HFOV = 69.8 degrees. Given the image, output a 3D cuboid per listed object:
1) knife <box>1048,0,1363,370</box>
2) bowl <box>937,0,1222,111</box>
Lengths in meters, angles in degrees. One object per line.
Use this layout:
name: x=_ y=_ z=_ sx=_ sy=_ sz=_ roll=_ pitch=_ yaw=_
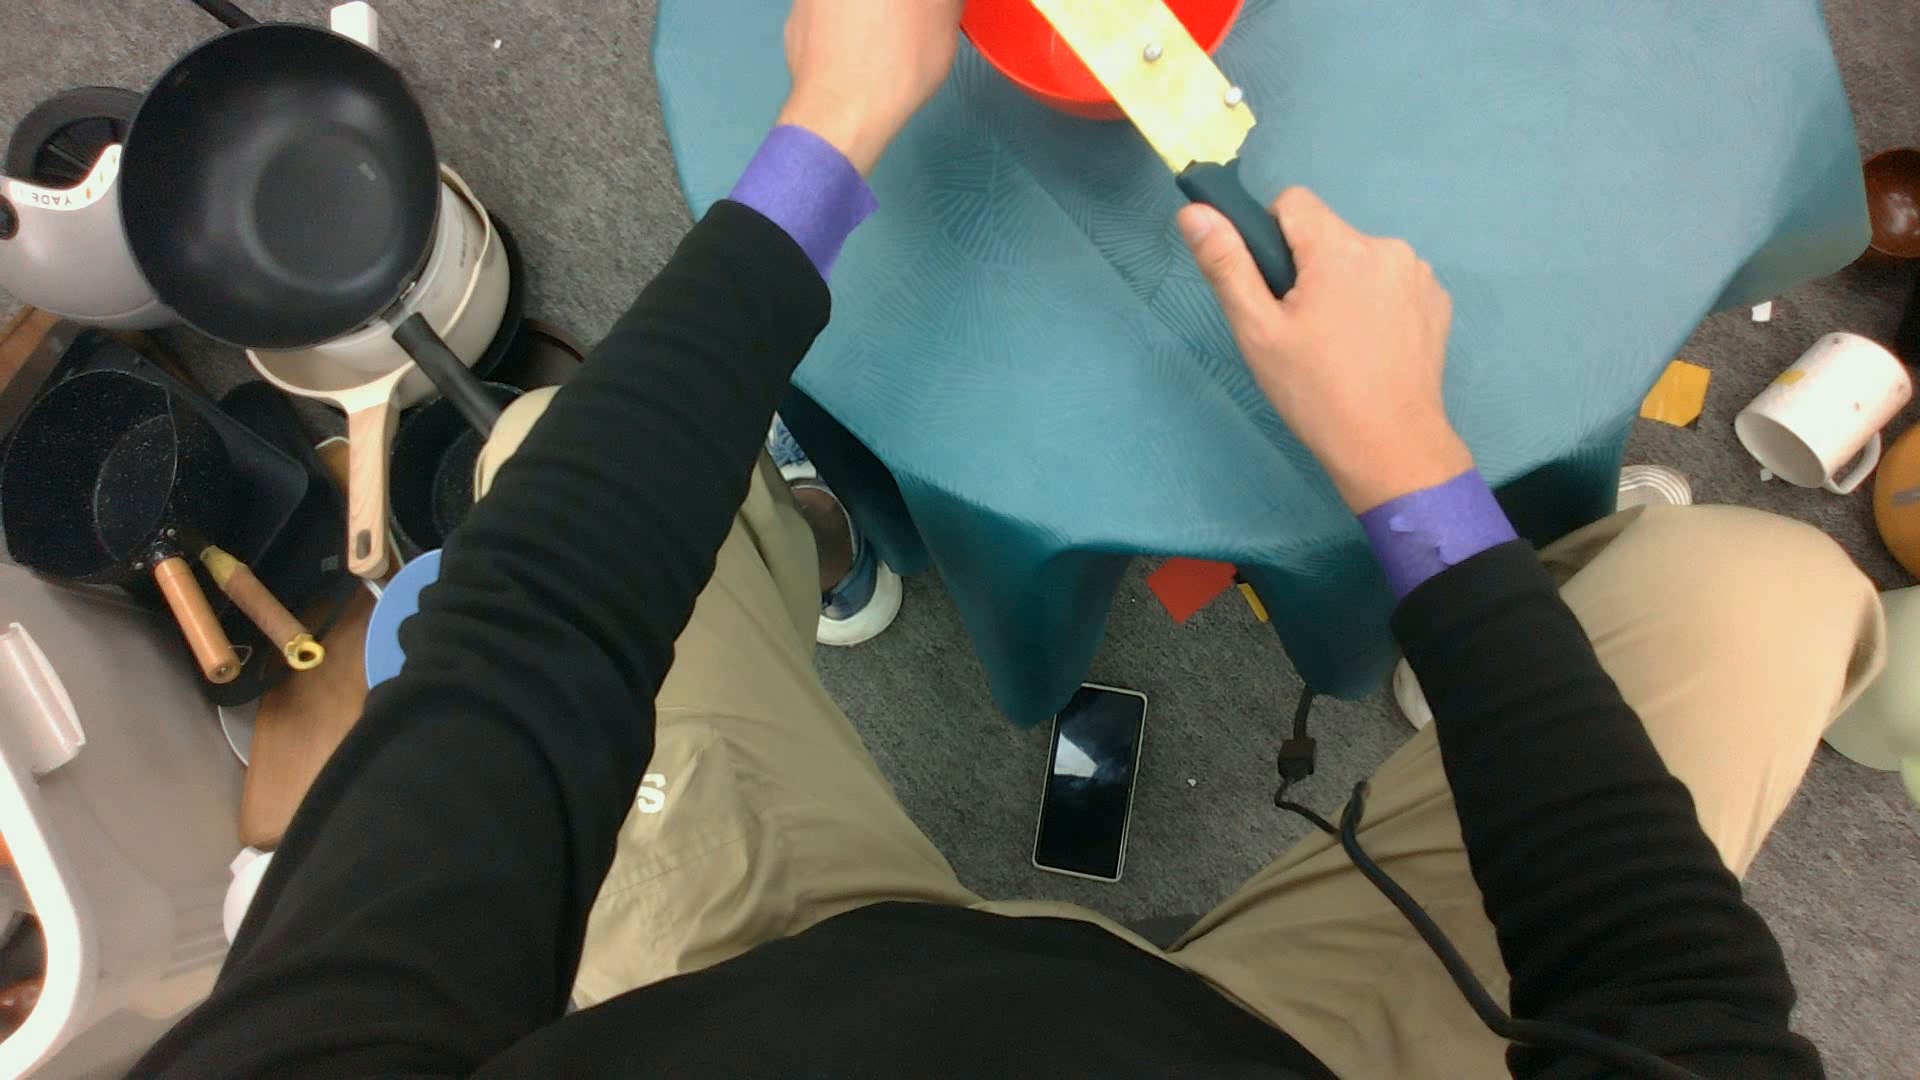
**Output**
knife: x=0.101 y=-0.198 z=0.621 sx=0.289 sy=0.027 sz=0.081 roll=51 pitch=53 yaw=-14
bowl: x=0.059 y=-0.277 z=0.681 sx=0.148 sy=0.104 sz=0.148 roll=-1 pitch=82 yaw=5
